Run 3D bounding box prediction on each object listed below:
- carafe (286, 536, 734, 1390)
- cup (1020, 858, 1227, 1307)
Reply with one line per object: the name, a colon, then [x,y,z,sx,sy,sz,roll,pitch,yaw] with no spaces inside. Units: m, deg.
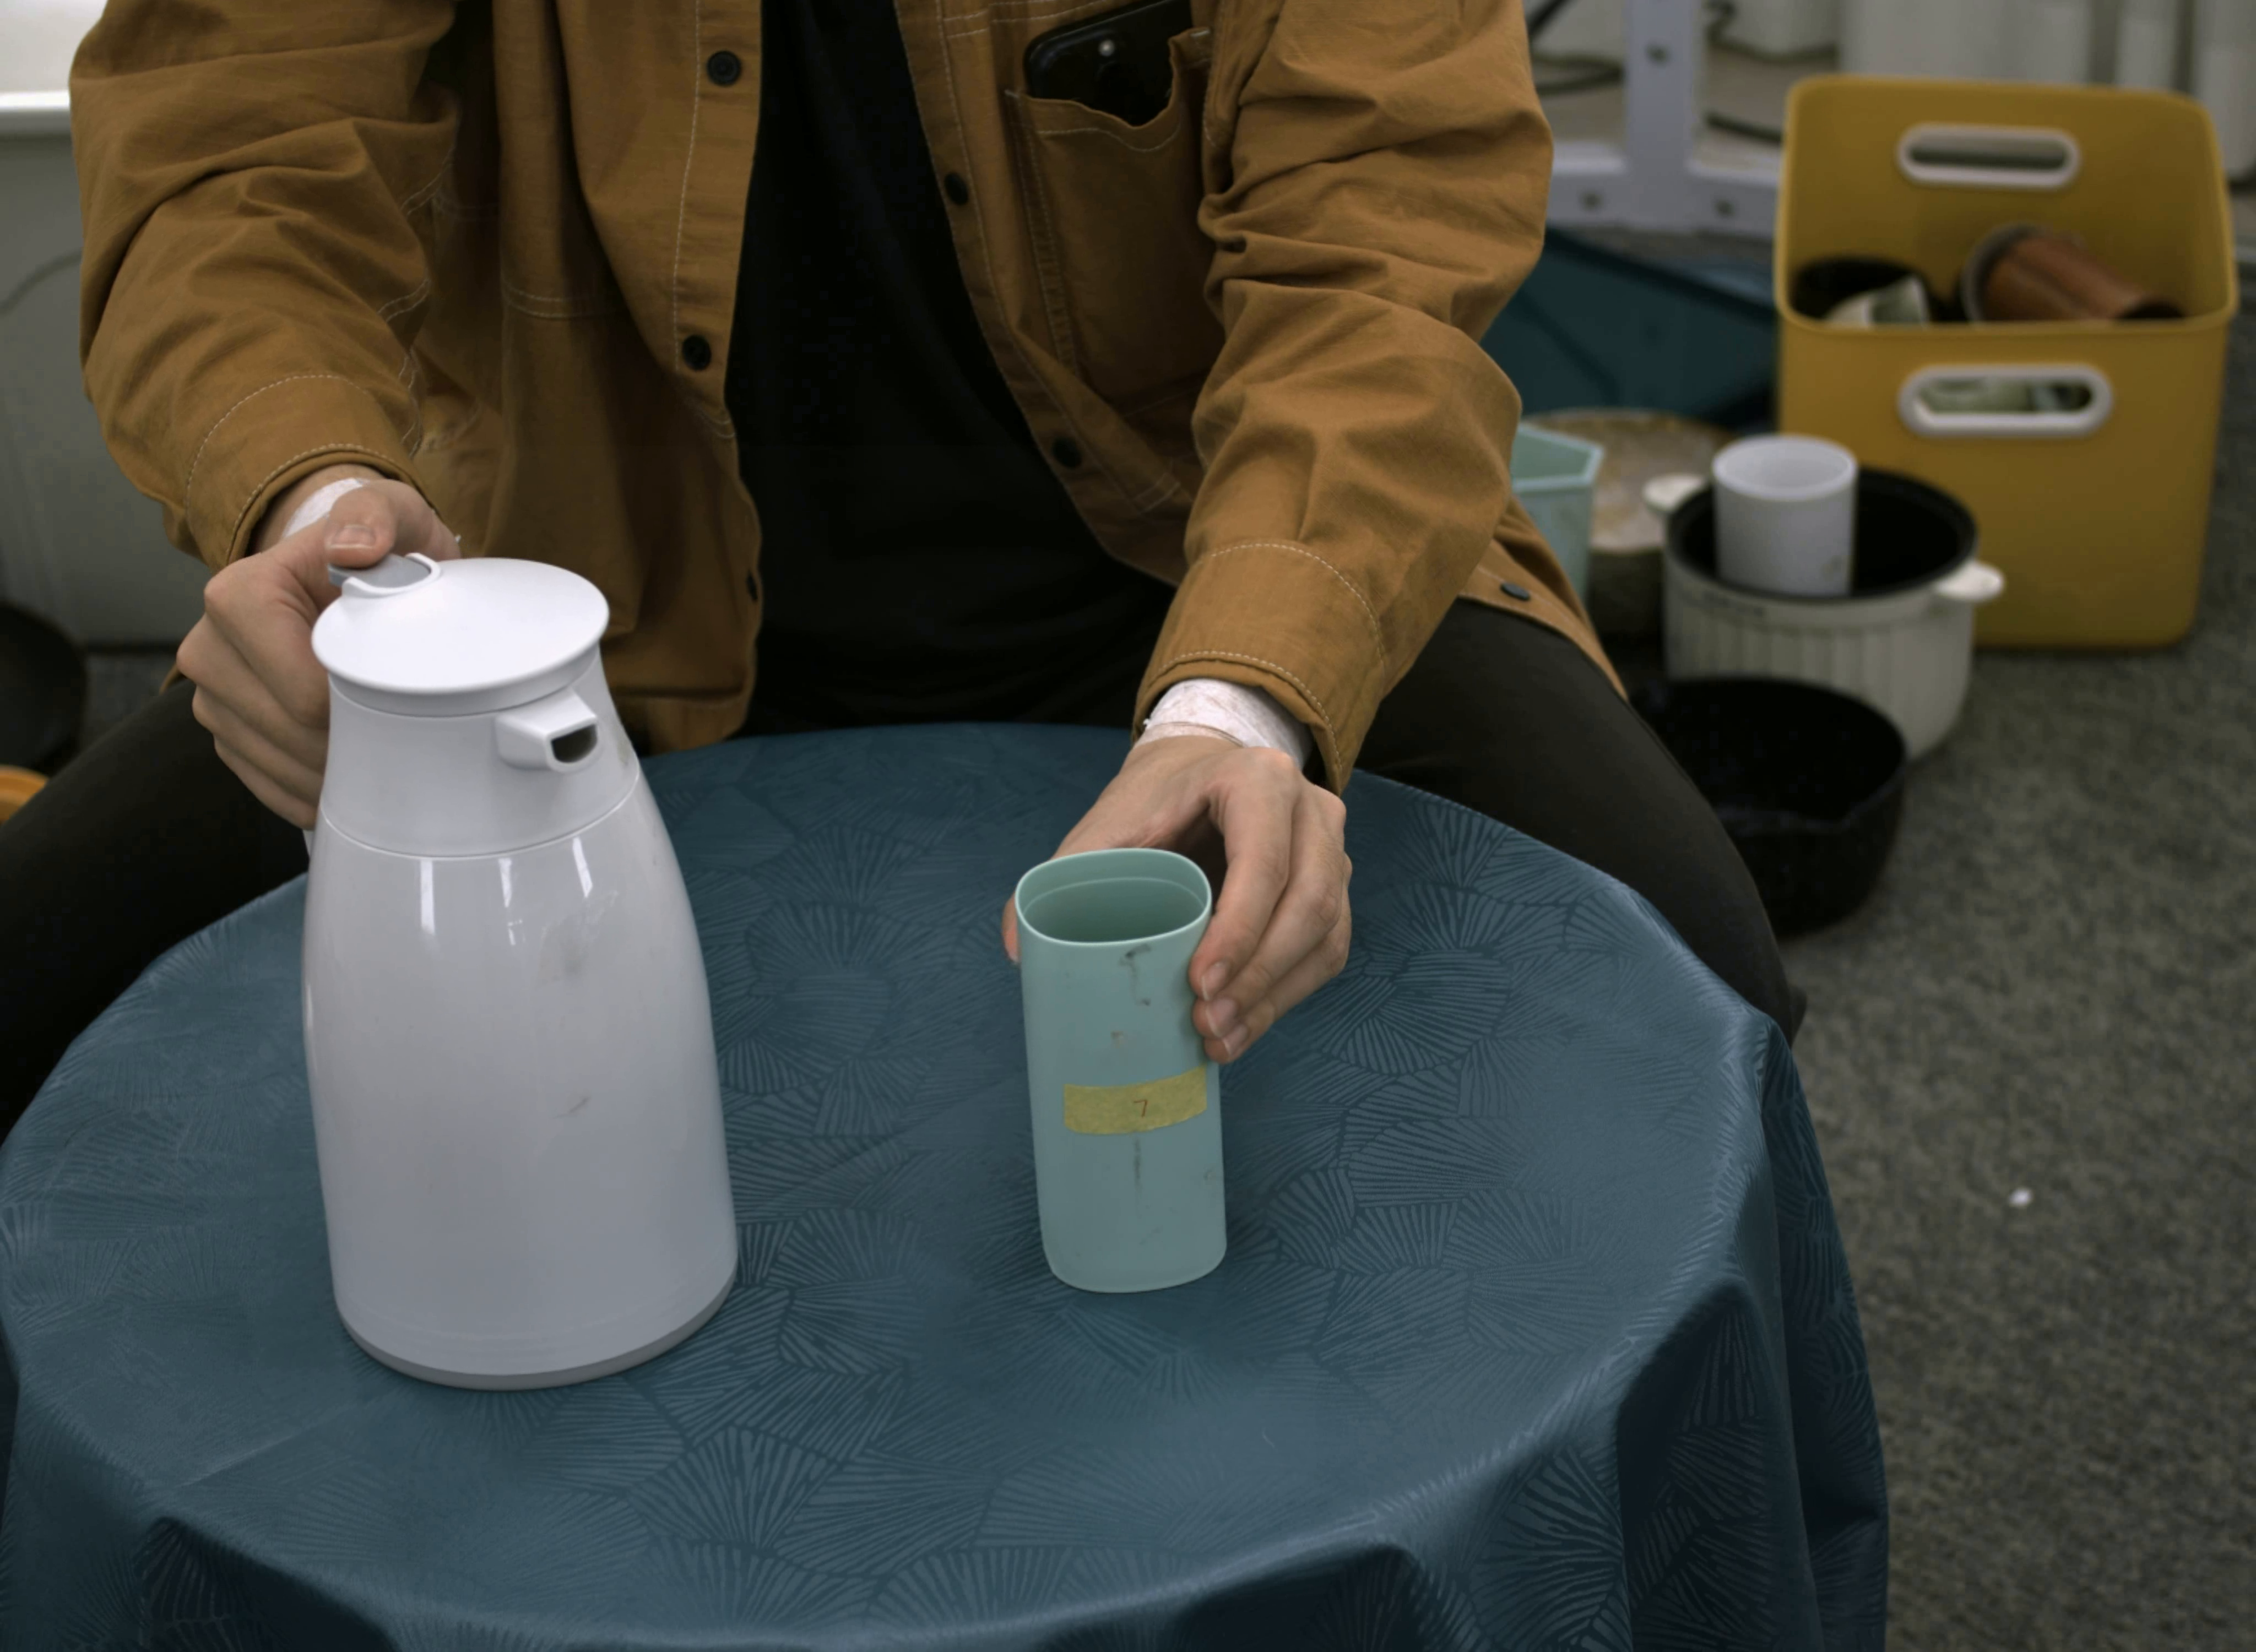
carafe: [-0.212,0.033,1.785,0.134,0.246,0.168,-23,32,-34]
cup: [-0.001,0.081,1.803,0.066,0.131,0.068,-2,27,1]
